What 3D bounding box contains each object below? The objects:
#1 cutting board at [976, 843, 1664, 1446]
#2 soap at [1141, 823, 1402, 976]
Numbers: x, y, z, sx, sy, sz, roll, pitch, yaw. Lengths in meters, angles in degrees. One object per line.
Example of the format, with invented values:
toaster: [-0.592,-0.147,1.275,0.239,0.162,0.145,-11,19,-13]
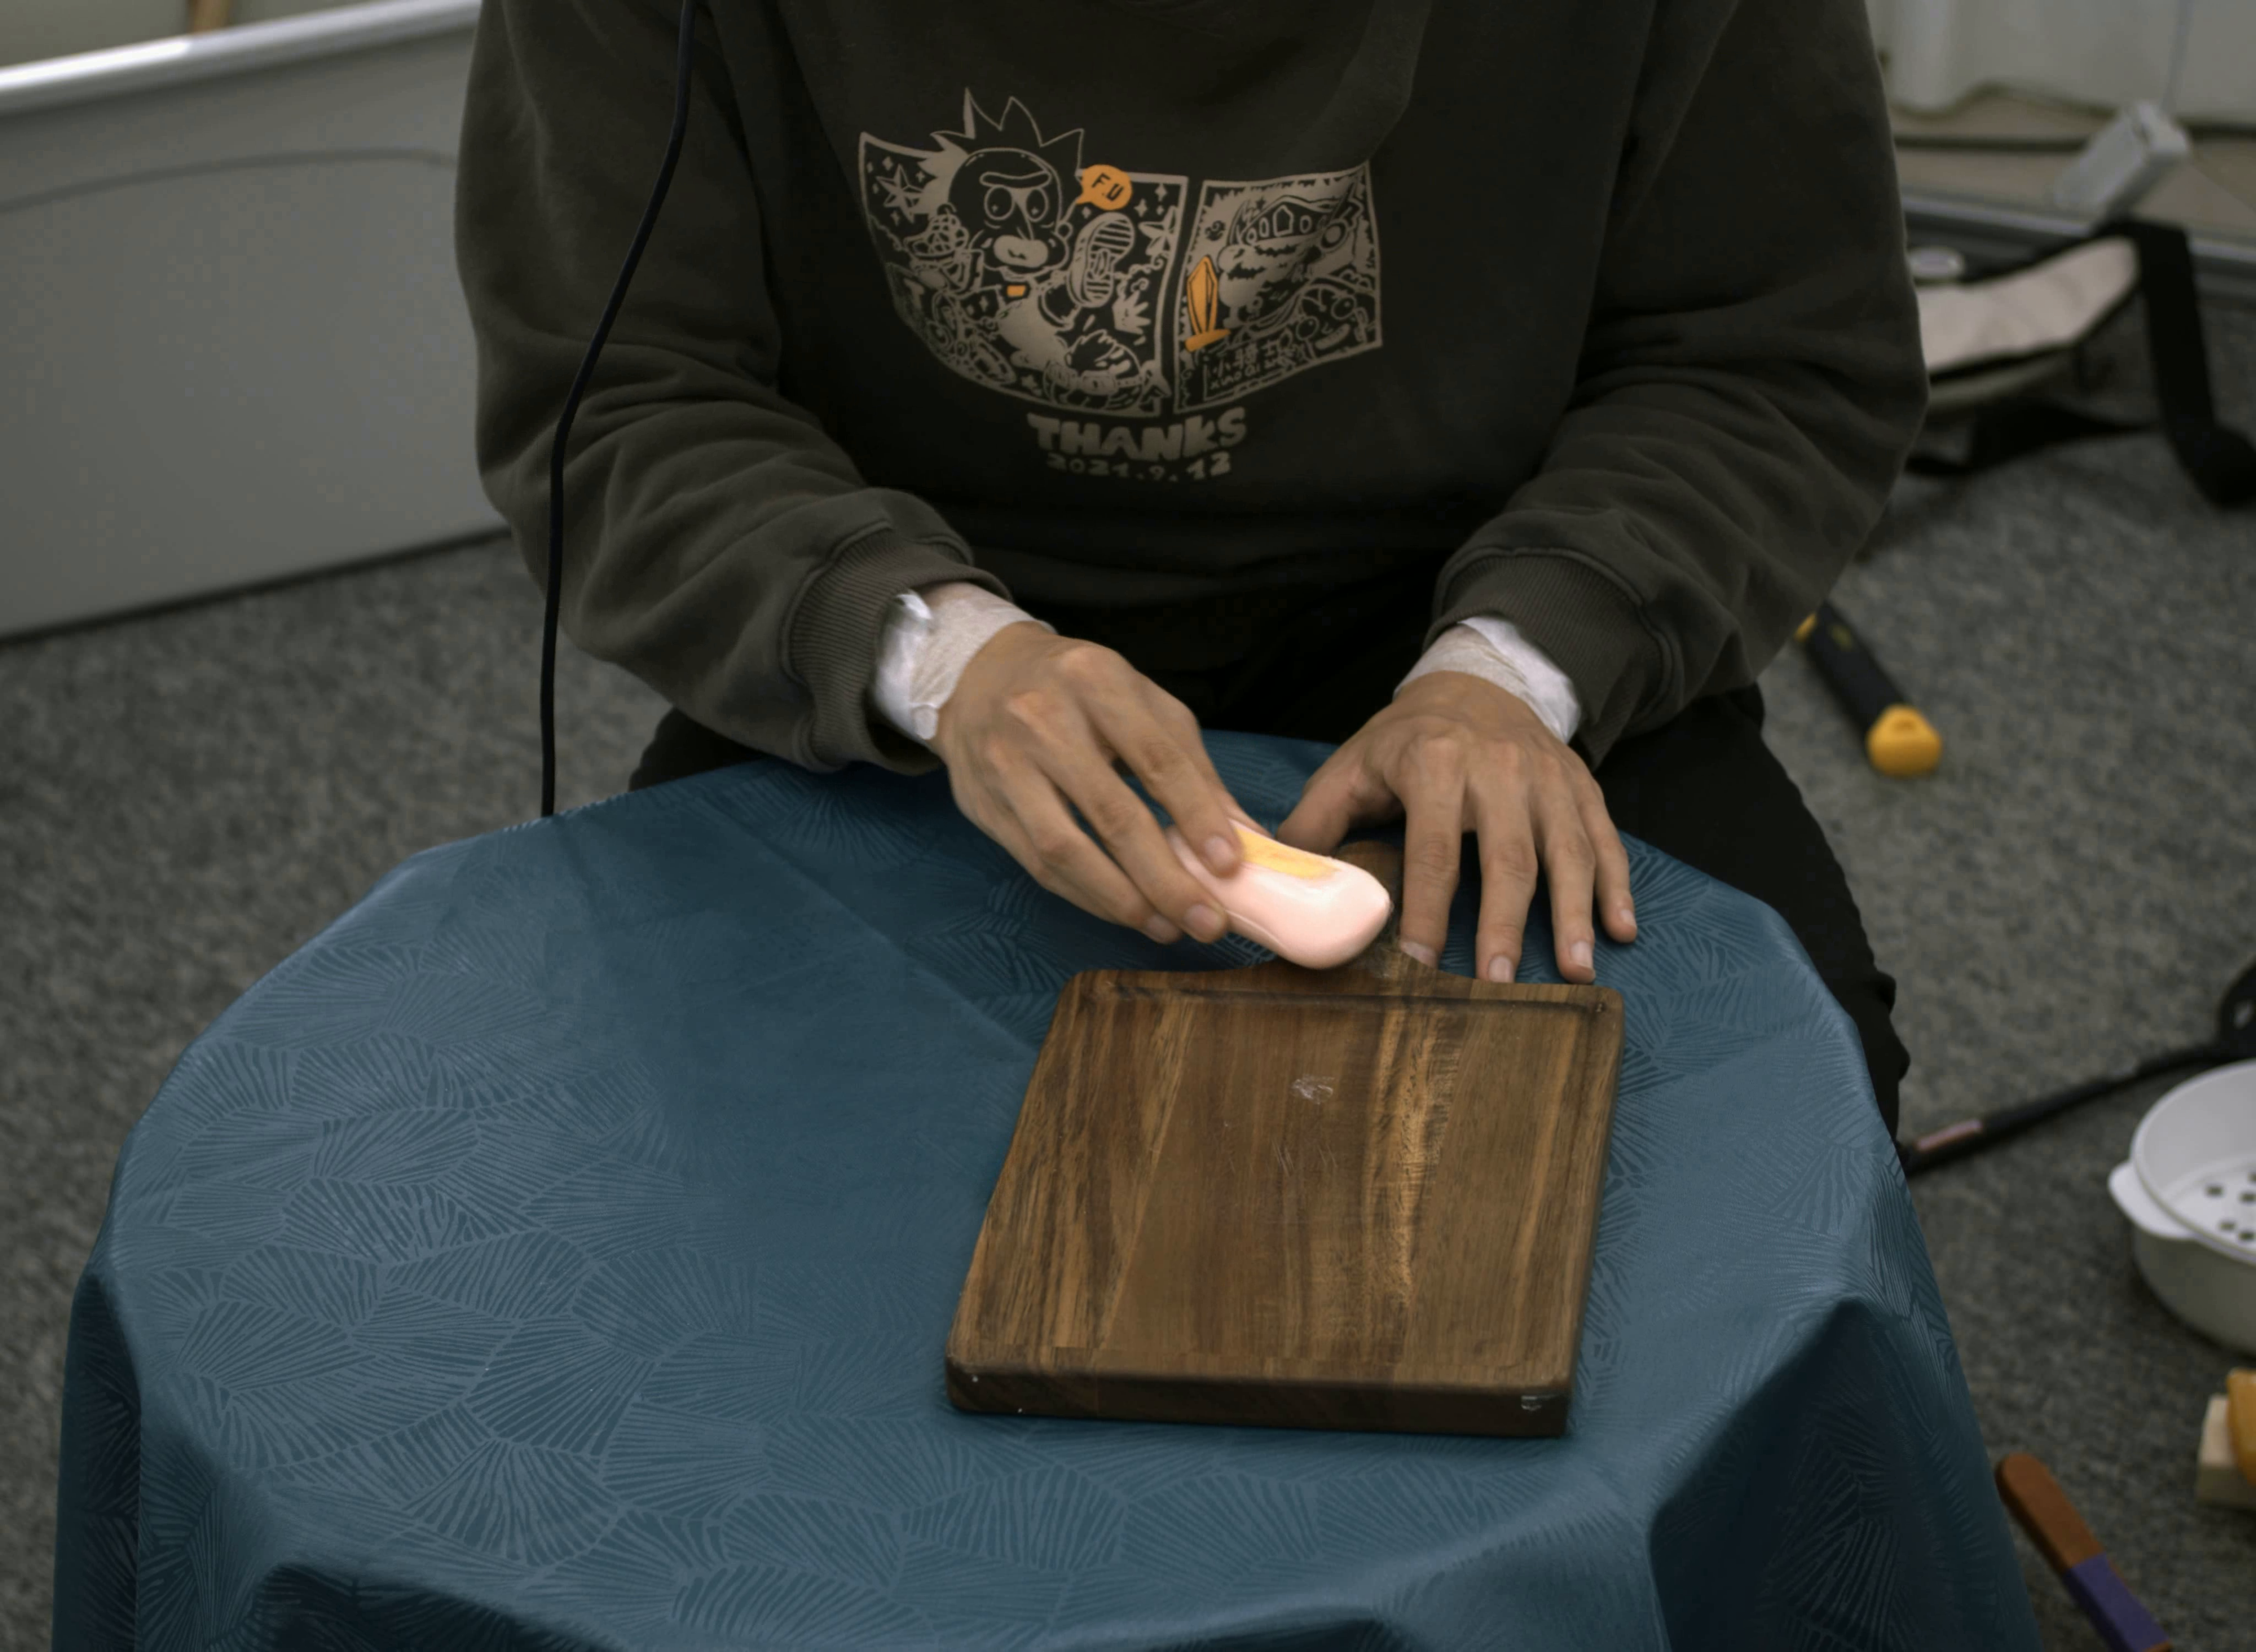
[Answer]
cutting board: [0.076,0.097,1.877,0.200,0.023,0.358,2,28,10]
soap: [0.050,0.025,1.961,0.094,0.030,0.051,20,34,32]
